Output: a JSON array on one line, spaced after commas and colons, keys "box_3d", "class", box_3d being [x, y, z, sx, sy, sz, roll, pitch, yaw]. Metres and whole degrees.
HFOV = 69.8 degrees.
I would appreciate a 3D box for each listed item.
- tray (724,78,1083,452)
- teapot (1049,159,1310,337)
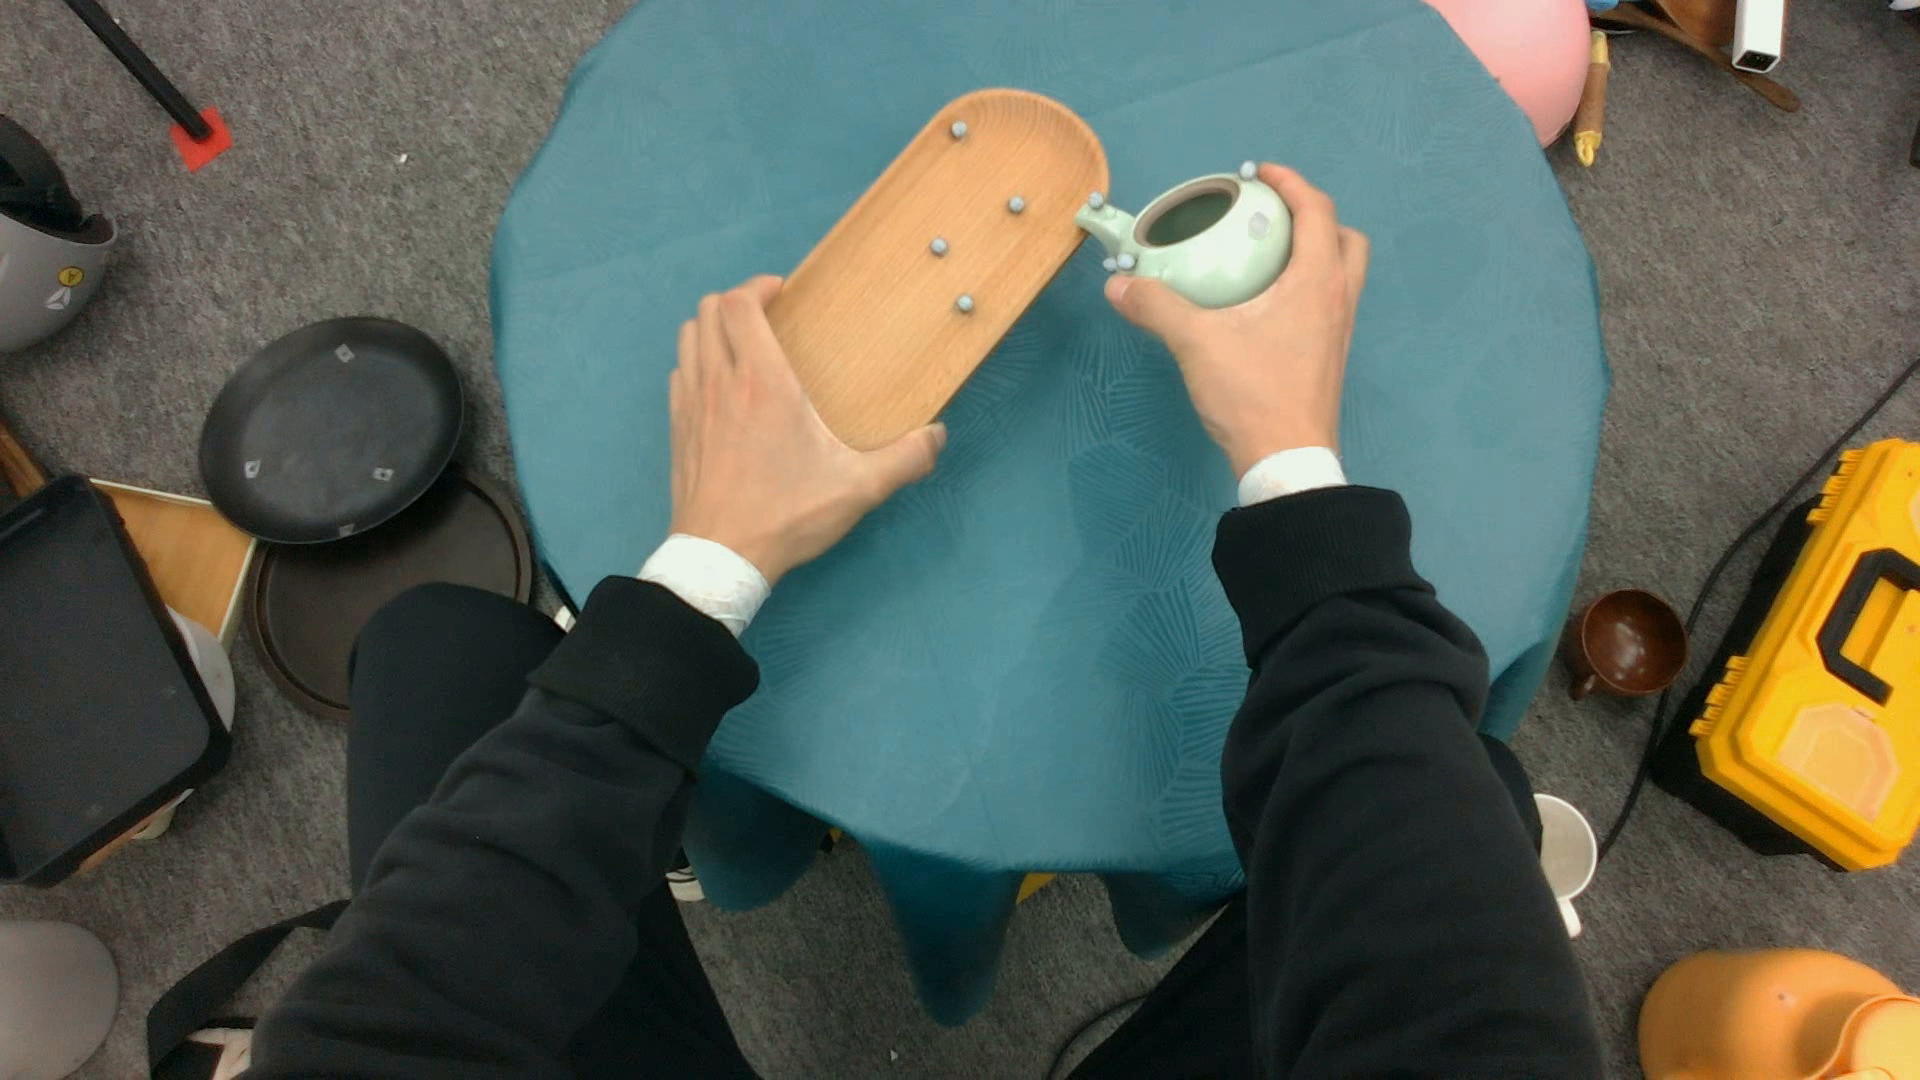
[{"box_3d": [-0.025, -0.140, 0.685, 0.101, 0.020, 0.232, 35, 73, 7], "class": "tray"}, {"box_3d": [0.108, -0.140, 0.659, 0.088, 0.143, 0.074, -51, 125, -21], "class": "teapot"}]
